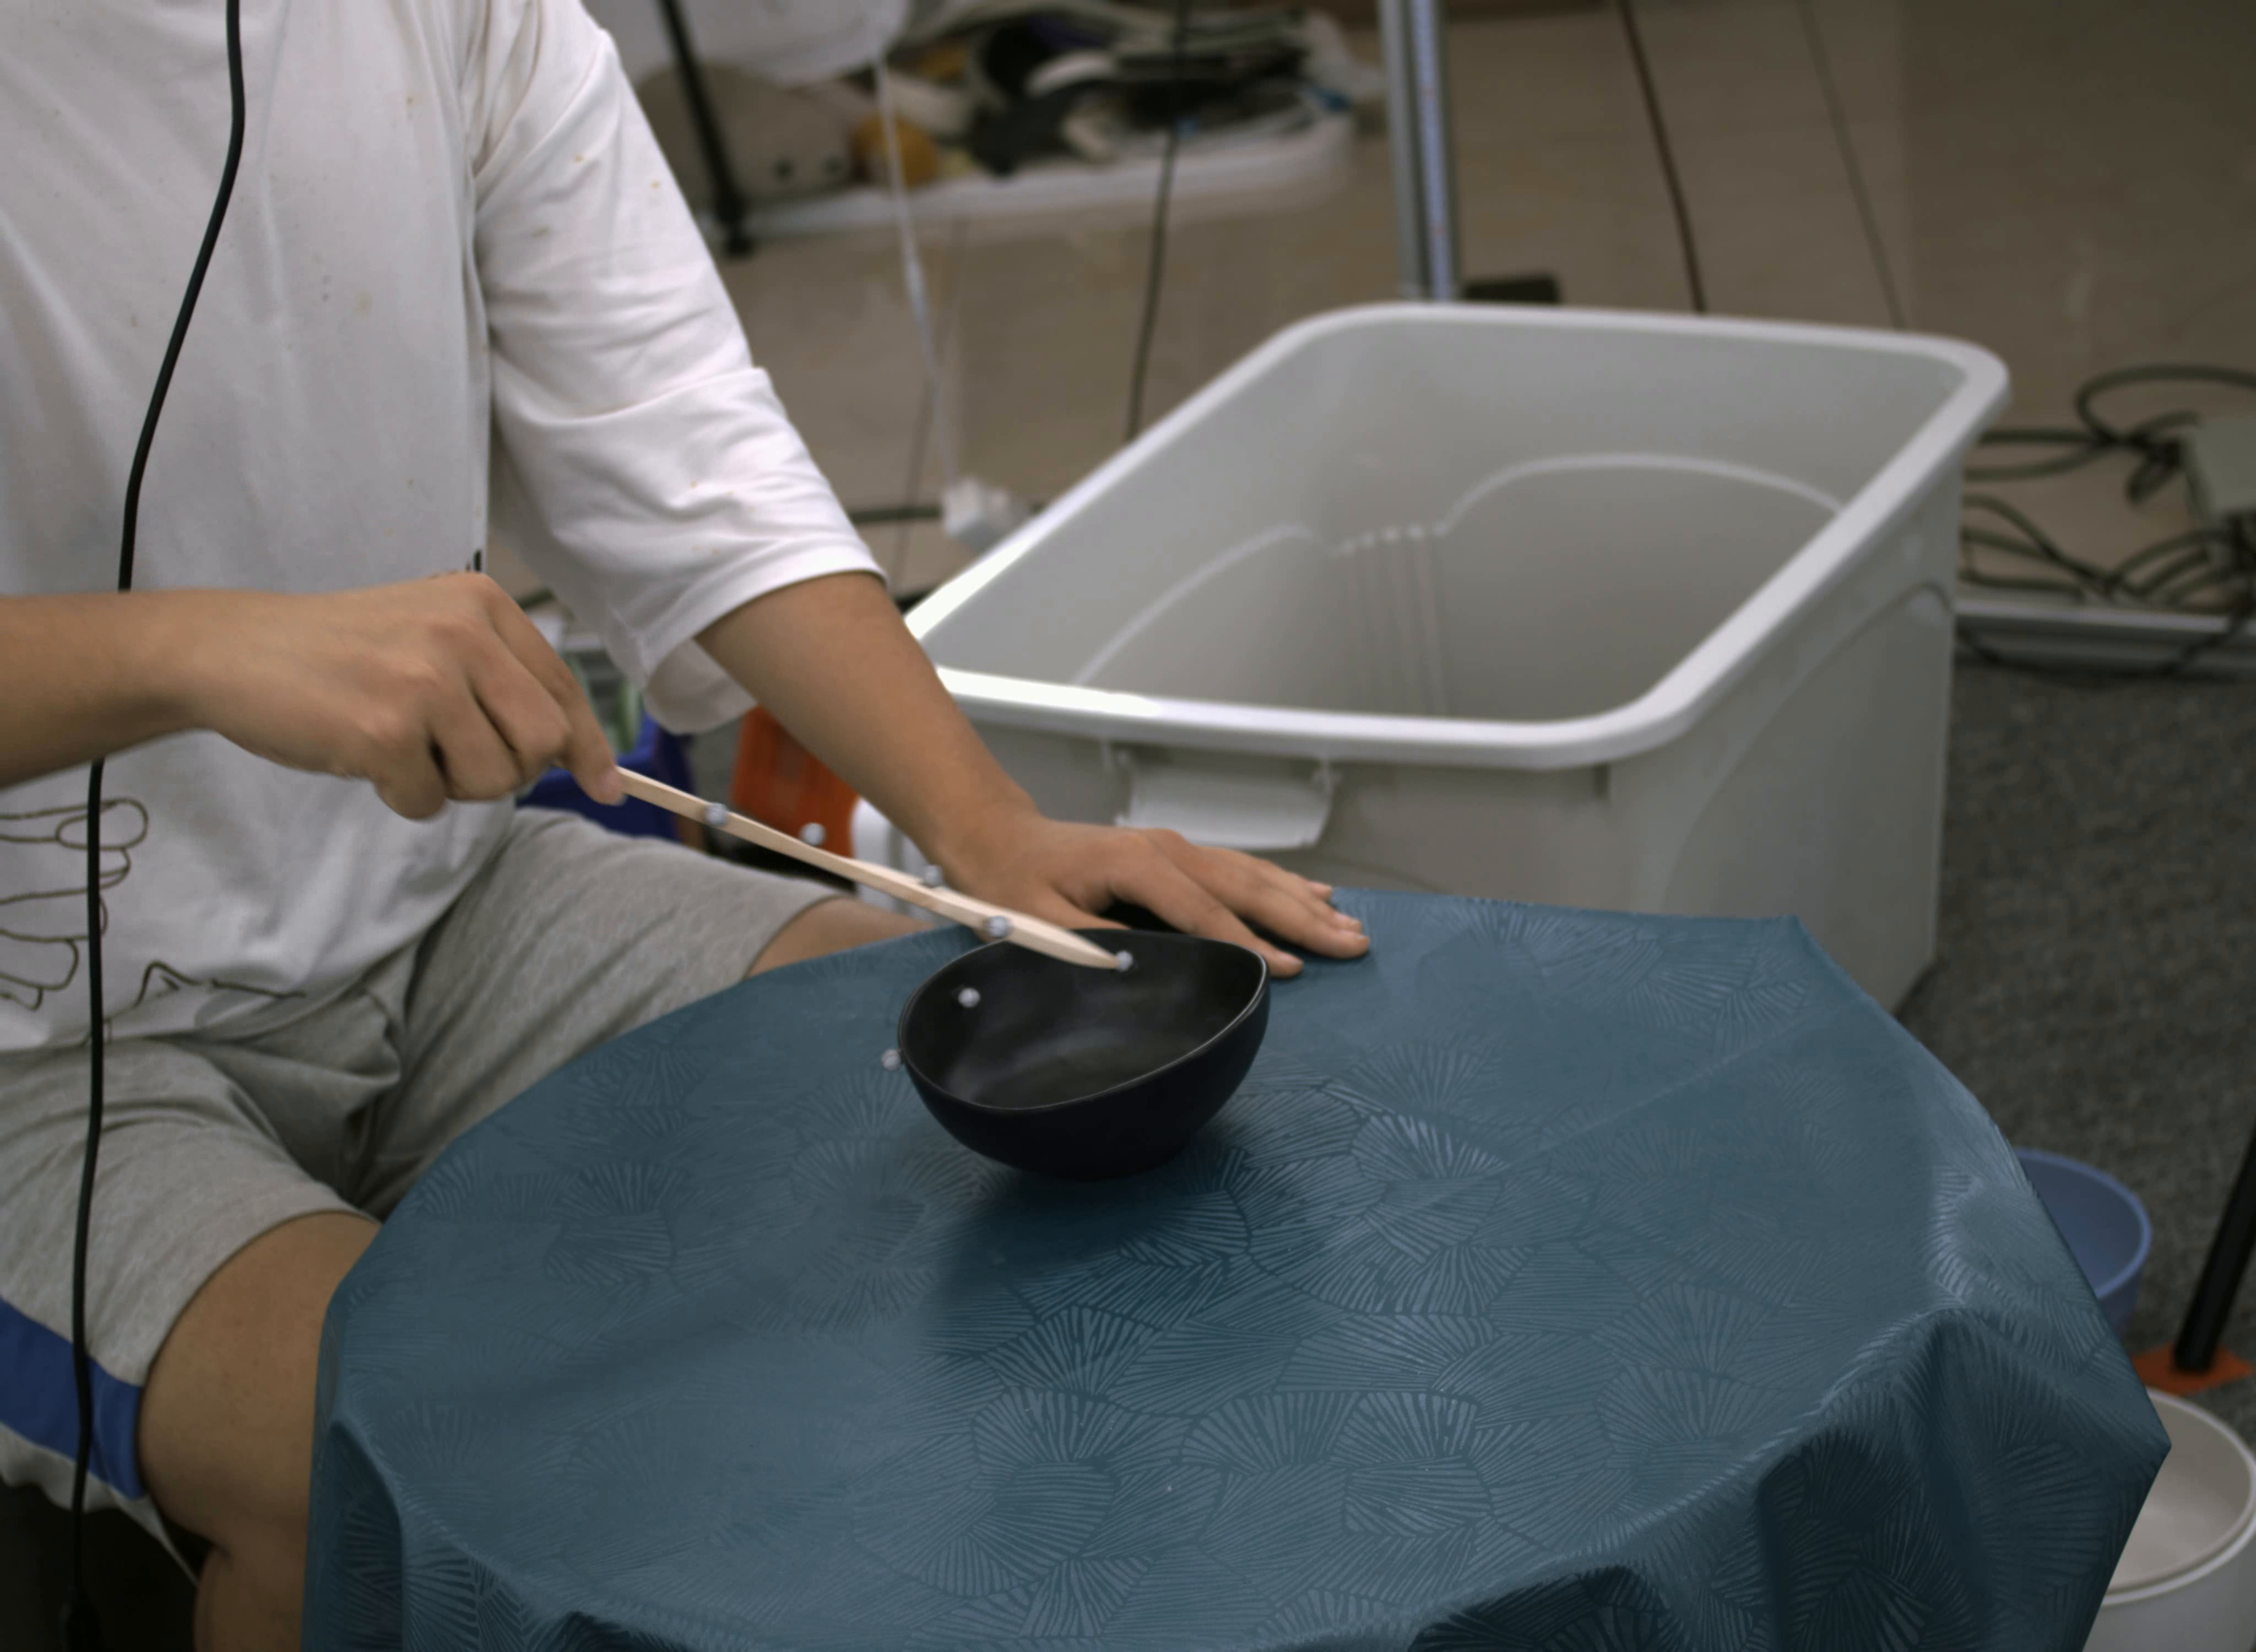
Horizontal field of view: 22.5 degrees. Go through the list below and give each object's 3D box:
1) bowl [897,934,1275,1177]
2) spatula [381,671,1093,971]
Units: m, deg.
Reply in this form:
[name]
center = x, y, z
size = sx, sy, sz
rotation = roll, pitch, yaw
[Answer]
[bowl]
center = -0.012, 0.092, 2.174
size = 0.137, 0.068, 0.168
rotation = 6, 26, 26
[spatula]
center = -0.141, -0.001, 2.031
size = 0.295, 0.010, 0.071
rotation = 23, 0, -32
